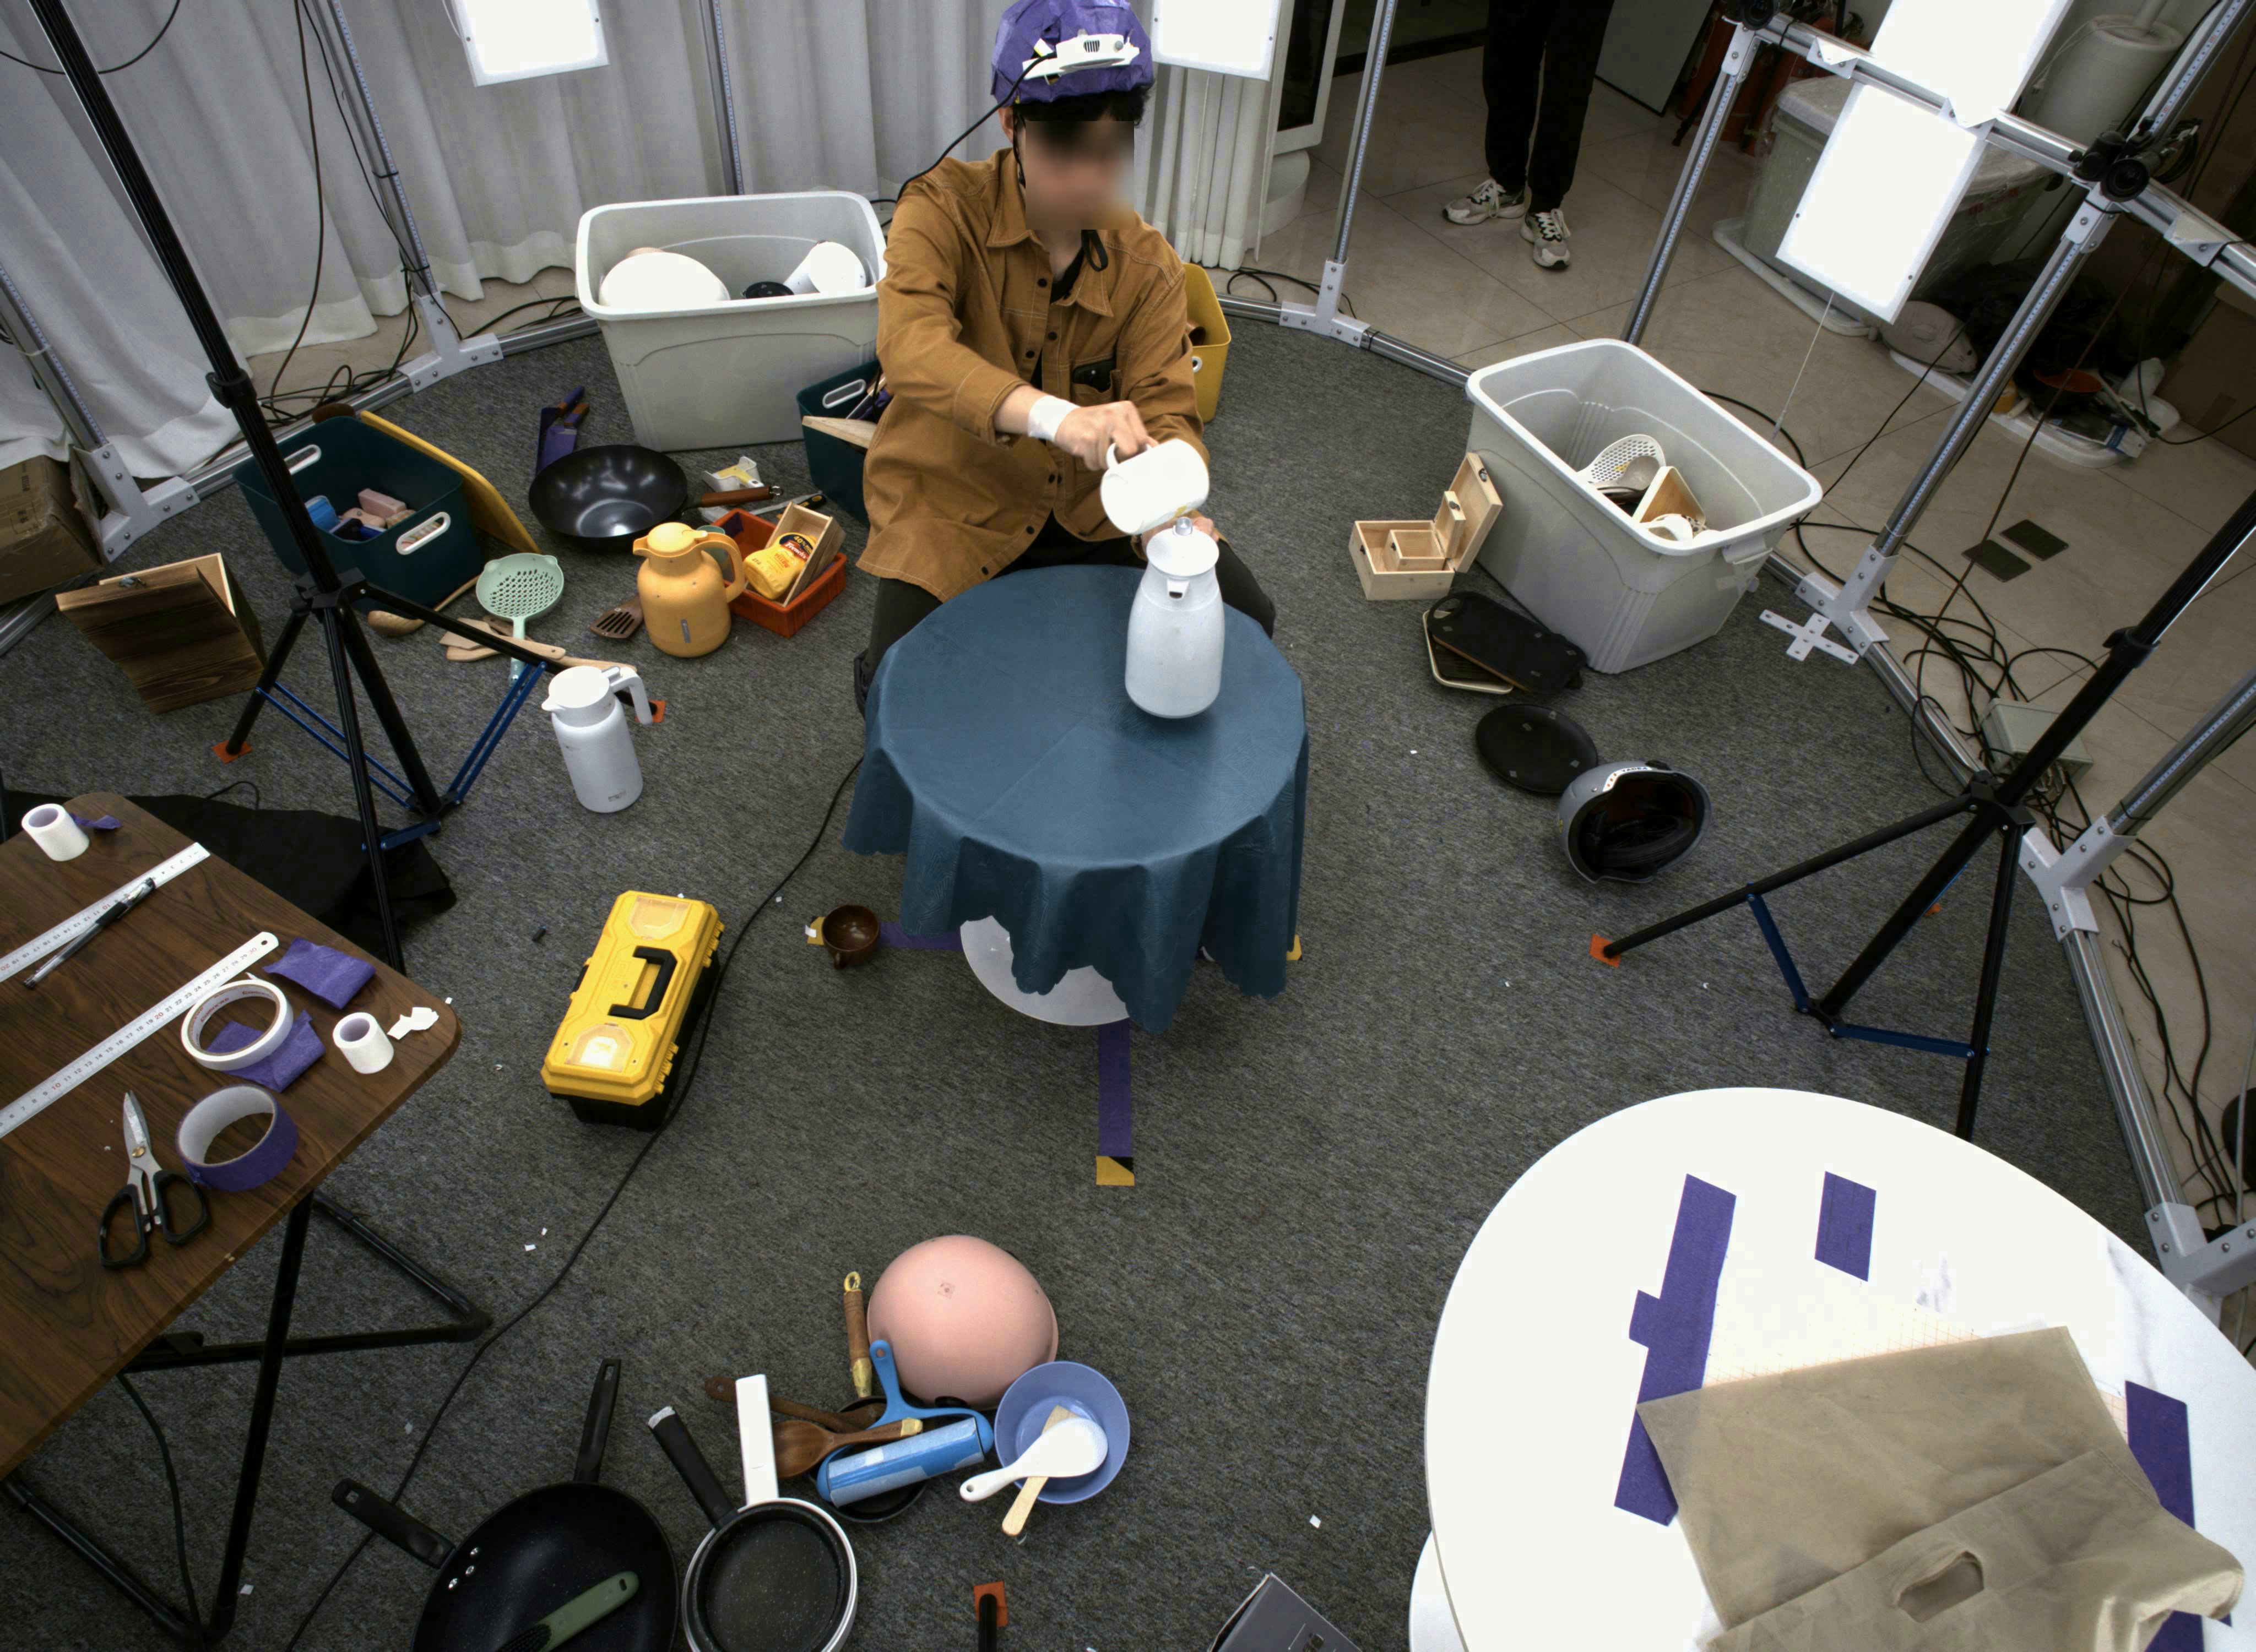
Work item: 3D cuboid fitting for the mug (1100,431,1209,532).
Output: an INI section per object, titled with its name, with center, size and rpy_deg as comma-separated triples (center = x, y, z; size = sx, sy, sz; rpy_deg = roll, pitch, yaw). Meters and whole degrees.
[mug]
center = 0.021, -0.412, 1.517
size = 0.102, 0.083, 0.119
rpy_deg = -29, 75, -33

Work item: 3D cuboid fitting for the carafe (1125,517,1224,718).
[carafe]
center = 0.064, -0.288, 1.707
size = 0.132, 0.242, 0.172
rpy_deg = 6, 51, 4
